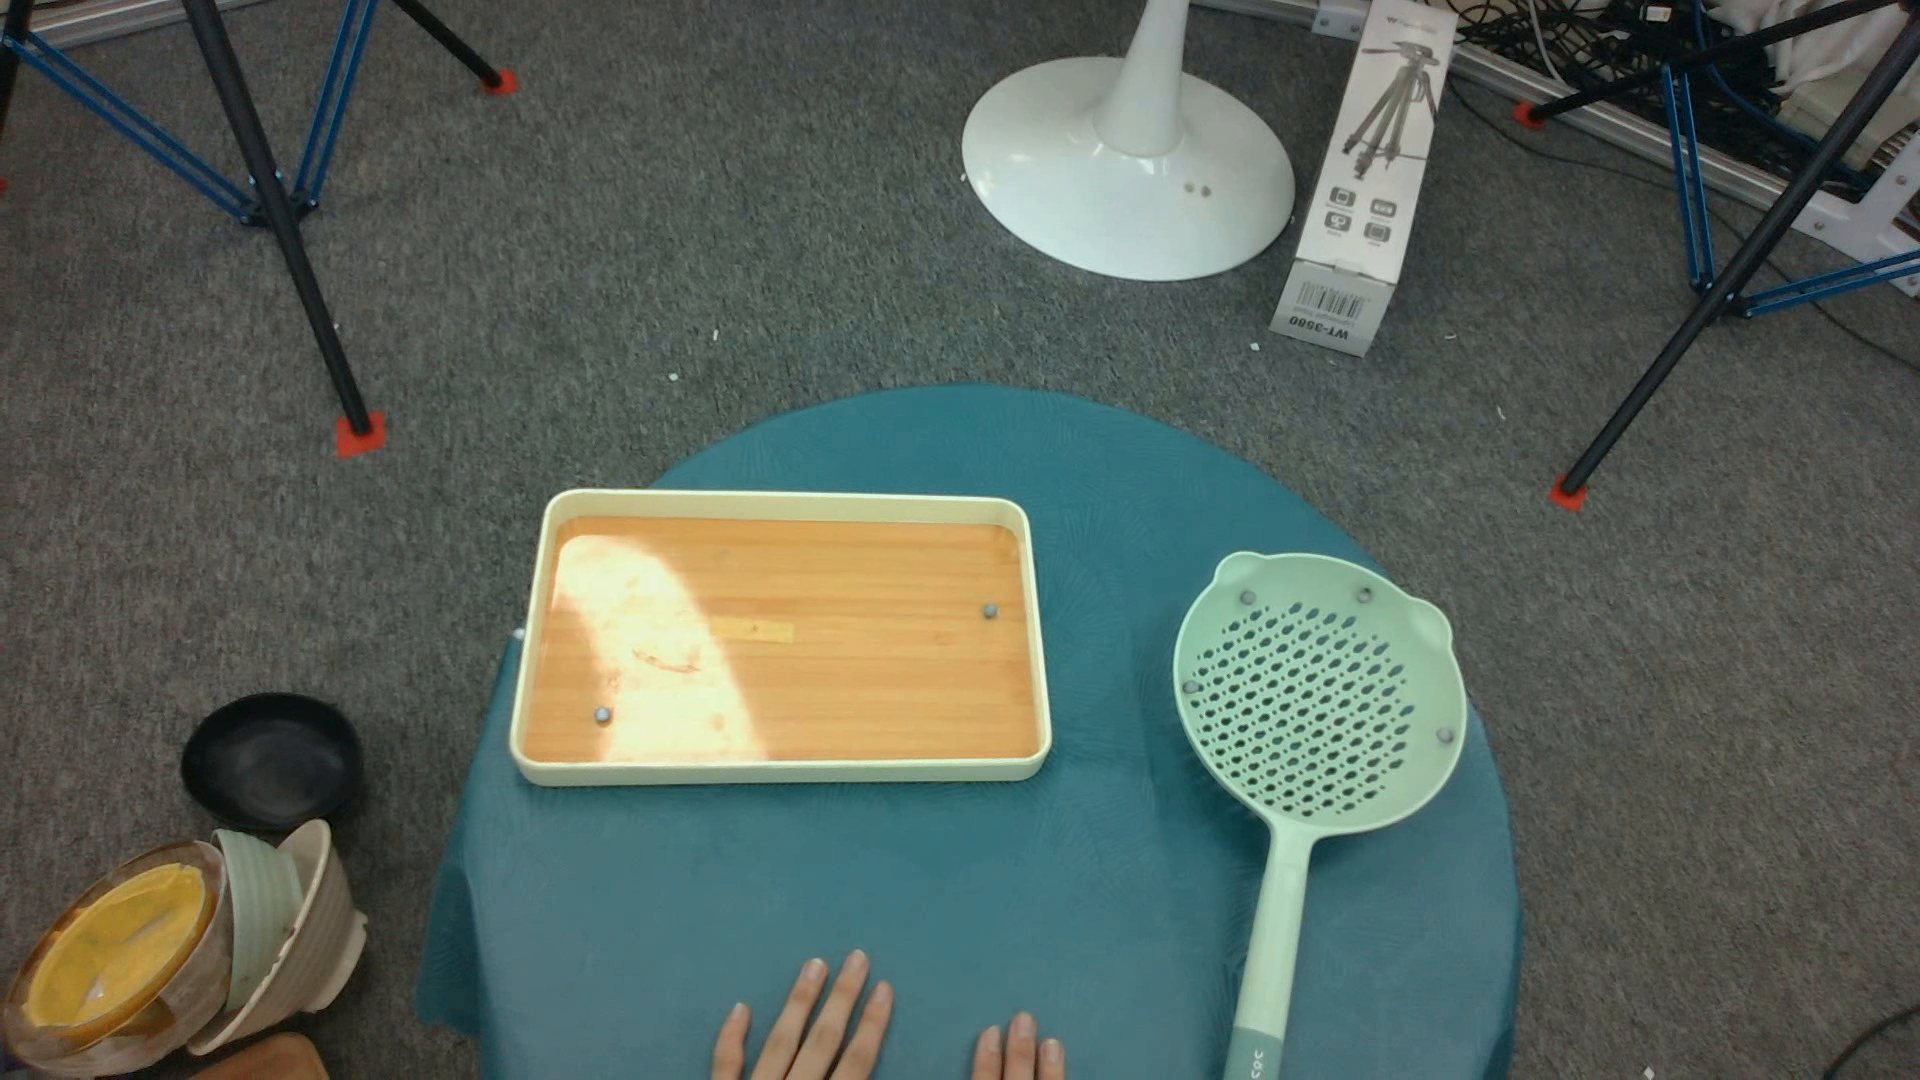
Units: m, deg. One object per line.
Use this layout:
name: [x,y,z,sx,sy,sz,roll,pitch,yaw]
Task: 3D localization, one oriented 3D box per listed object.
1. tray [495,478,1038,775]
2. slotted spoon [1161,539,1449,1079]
tray: [-0.109,0.048,0.818,0.300,0.027,0.192,1,54,-8]
slotted spoon: [0.171,0.163,0.755,0.169,0.075,0.360,16,54,4]
